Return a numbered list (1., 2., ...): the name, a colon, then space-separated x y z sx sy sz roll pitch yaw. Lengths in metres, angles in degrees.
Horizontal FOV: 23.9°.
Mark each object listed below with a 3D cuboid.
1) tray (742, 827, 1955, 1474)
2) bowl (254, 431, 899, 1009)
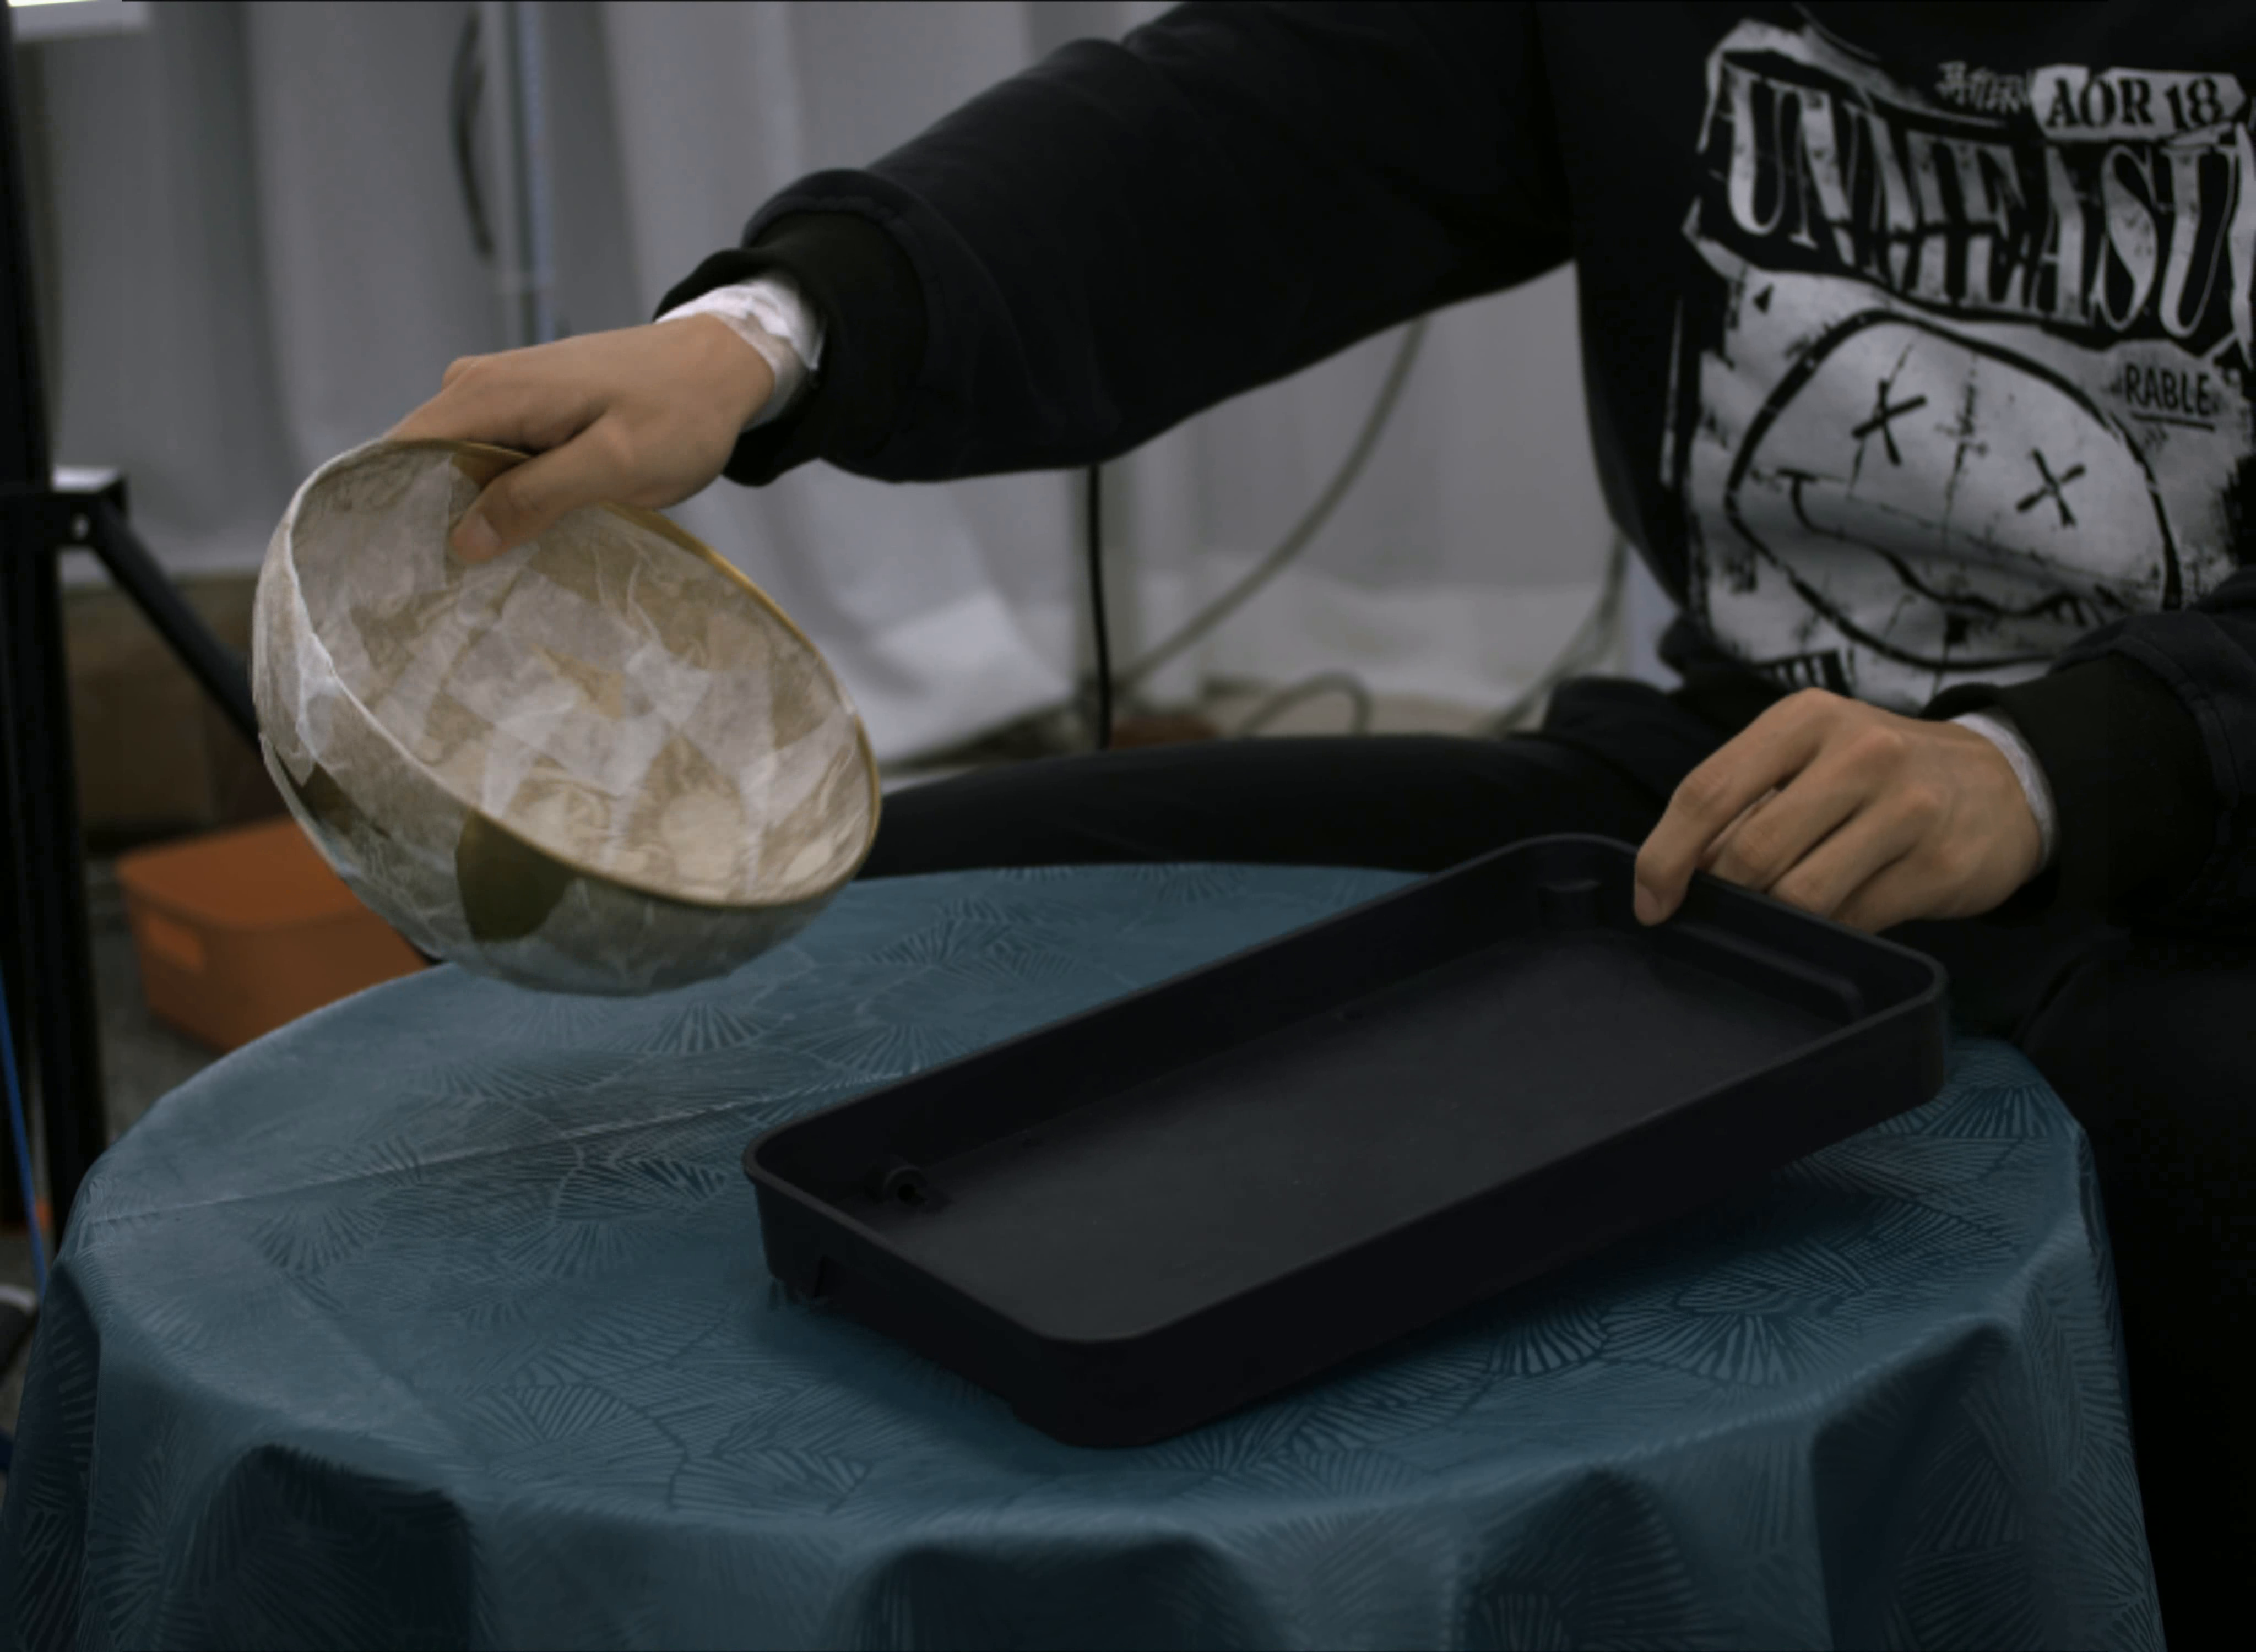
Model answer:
1. tray: 0.065 0.085 1.502 0.312 0.037 0.188 -21 26 -28
2. bowl: -0.181 -0.014 1.620 0.211 0.095 0.217 27 31 -19
